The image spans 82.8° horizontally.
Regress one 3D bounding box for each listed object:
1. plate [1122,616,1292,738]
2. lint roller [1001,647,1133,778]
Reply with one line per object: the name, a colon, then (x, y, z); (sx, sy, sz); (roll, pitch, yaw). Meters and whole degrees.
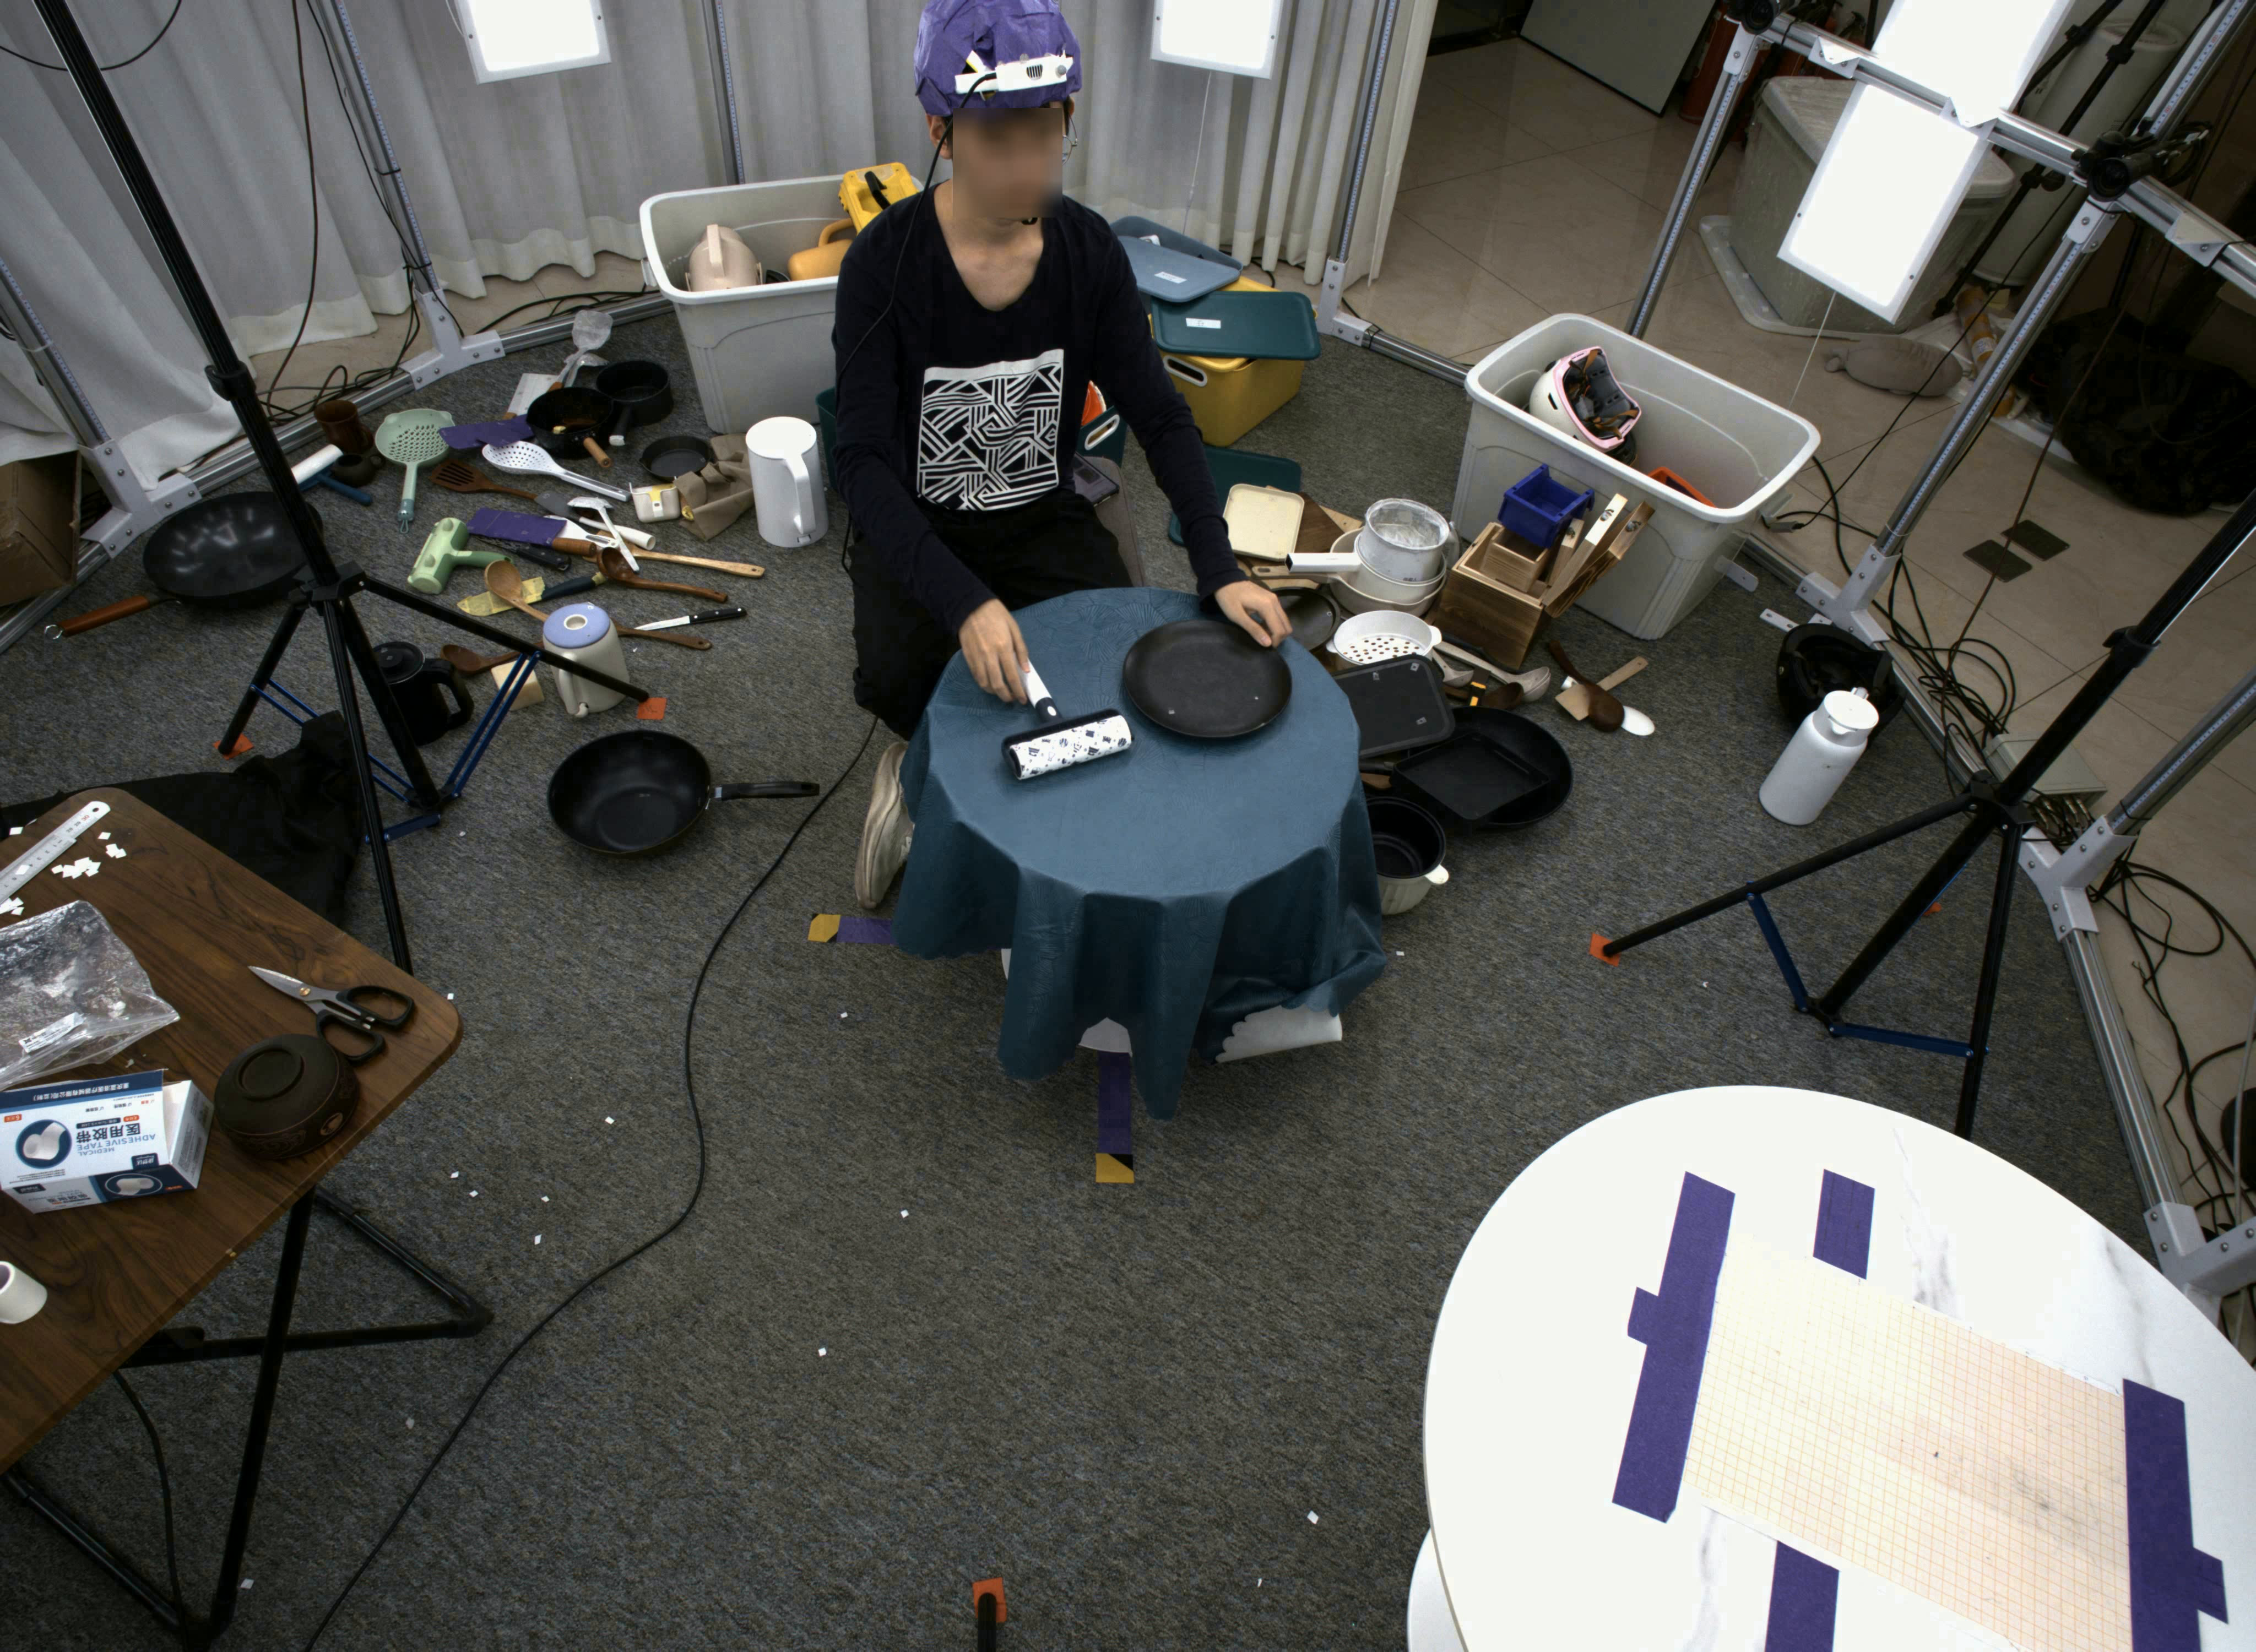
plate: (0.113, -0.211, 1.841); (0.244, 0.023, 0.250); (1, 50, -2)
lint roller: (-0.121, -0.176, 1.786); (0.176, 0.049, 0.253); (-18, 50, -18)
